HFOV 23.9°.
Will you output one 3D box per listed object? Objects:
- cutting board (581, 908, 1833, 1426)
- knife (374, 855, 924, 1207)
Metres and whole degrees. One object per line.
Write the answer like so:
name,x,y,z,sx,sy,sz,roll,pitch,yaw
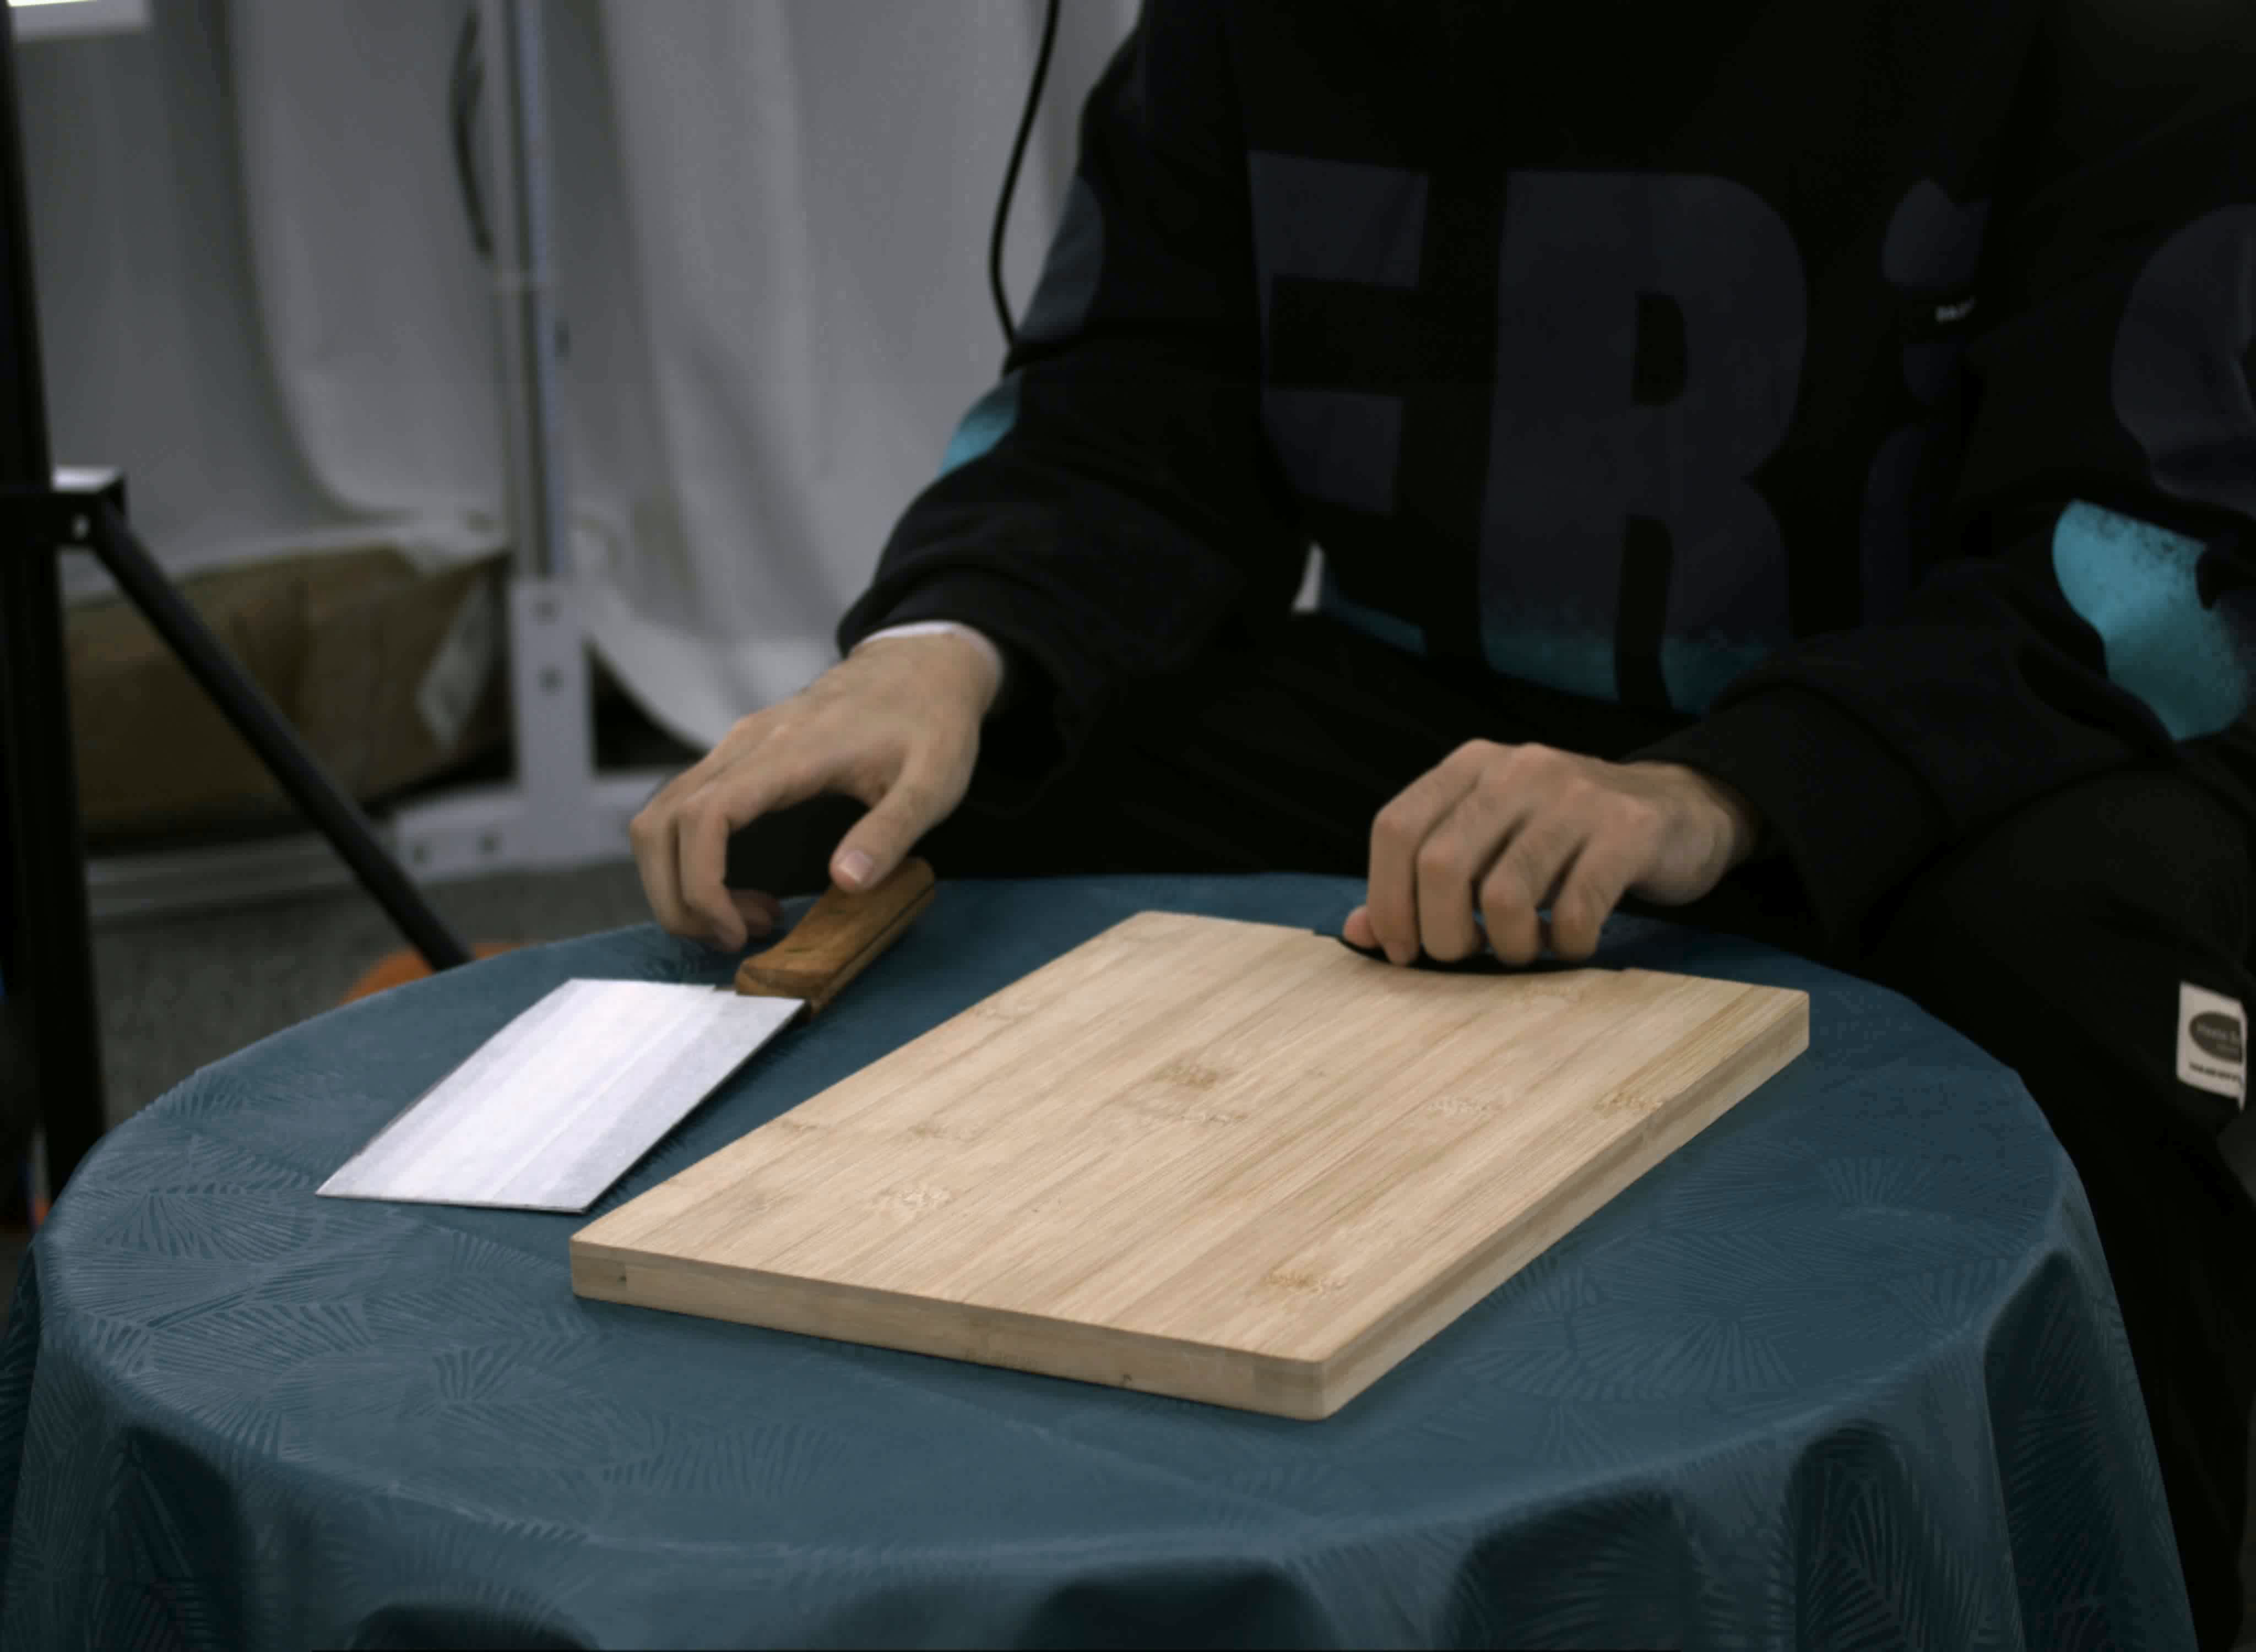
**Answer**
cutting board,0.032,0.092,1.578,0.255,0.023,0.343,6,18,28
knife,-0.152,0.064,1.711,0.094,0.021,0.303,1,19,19
